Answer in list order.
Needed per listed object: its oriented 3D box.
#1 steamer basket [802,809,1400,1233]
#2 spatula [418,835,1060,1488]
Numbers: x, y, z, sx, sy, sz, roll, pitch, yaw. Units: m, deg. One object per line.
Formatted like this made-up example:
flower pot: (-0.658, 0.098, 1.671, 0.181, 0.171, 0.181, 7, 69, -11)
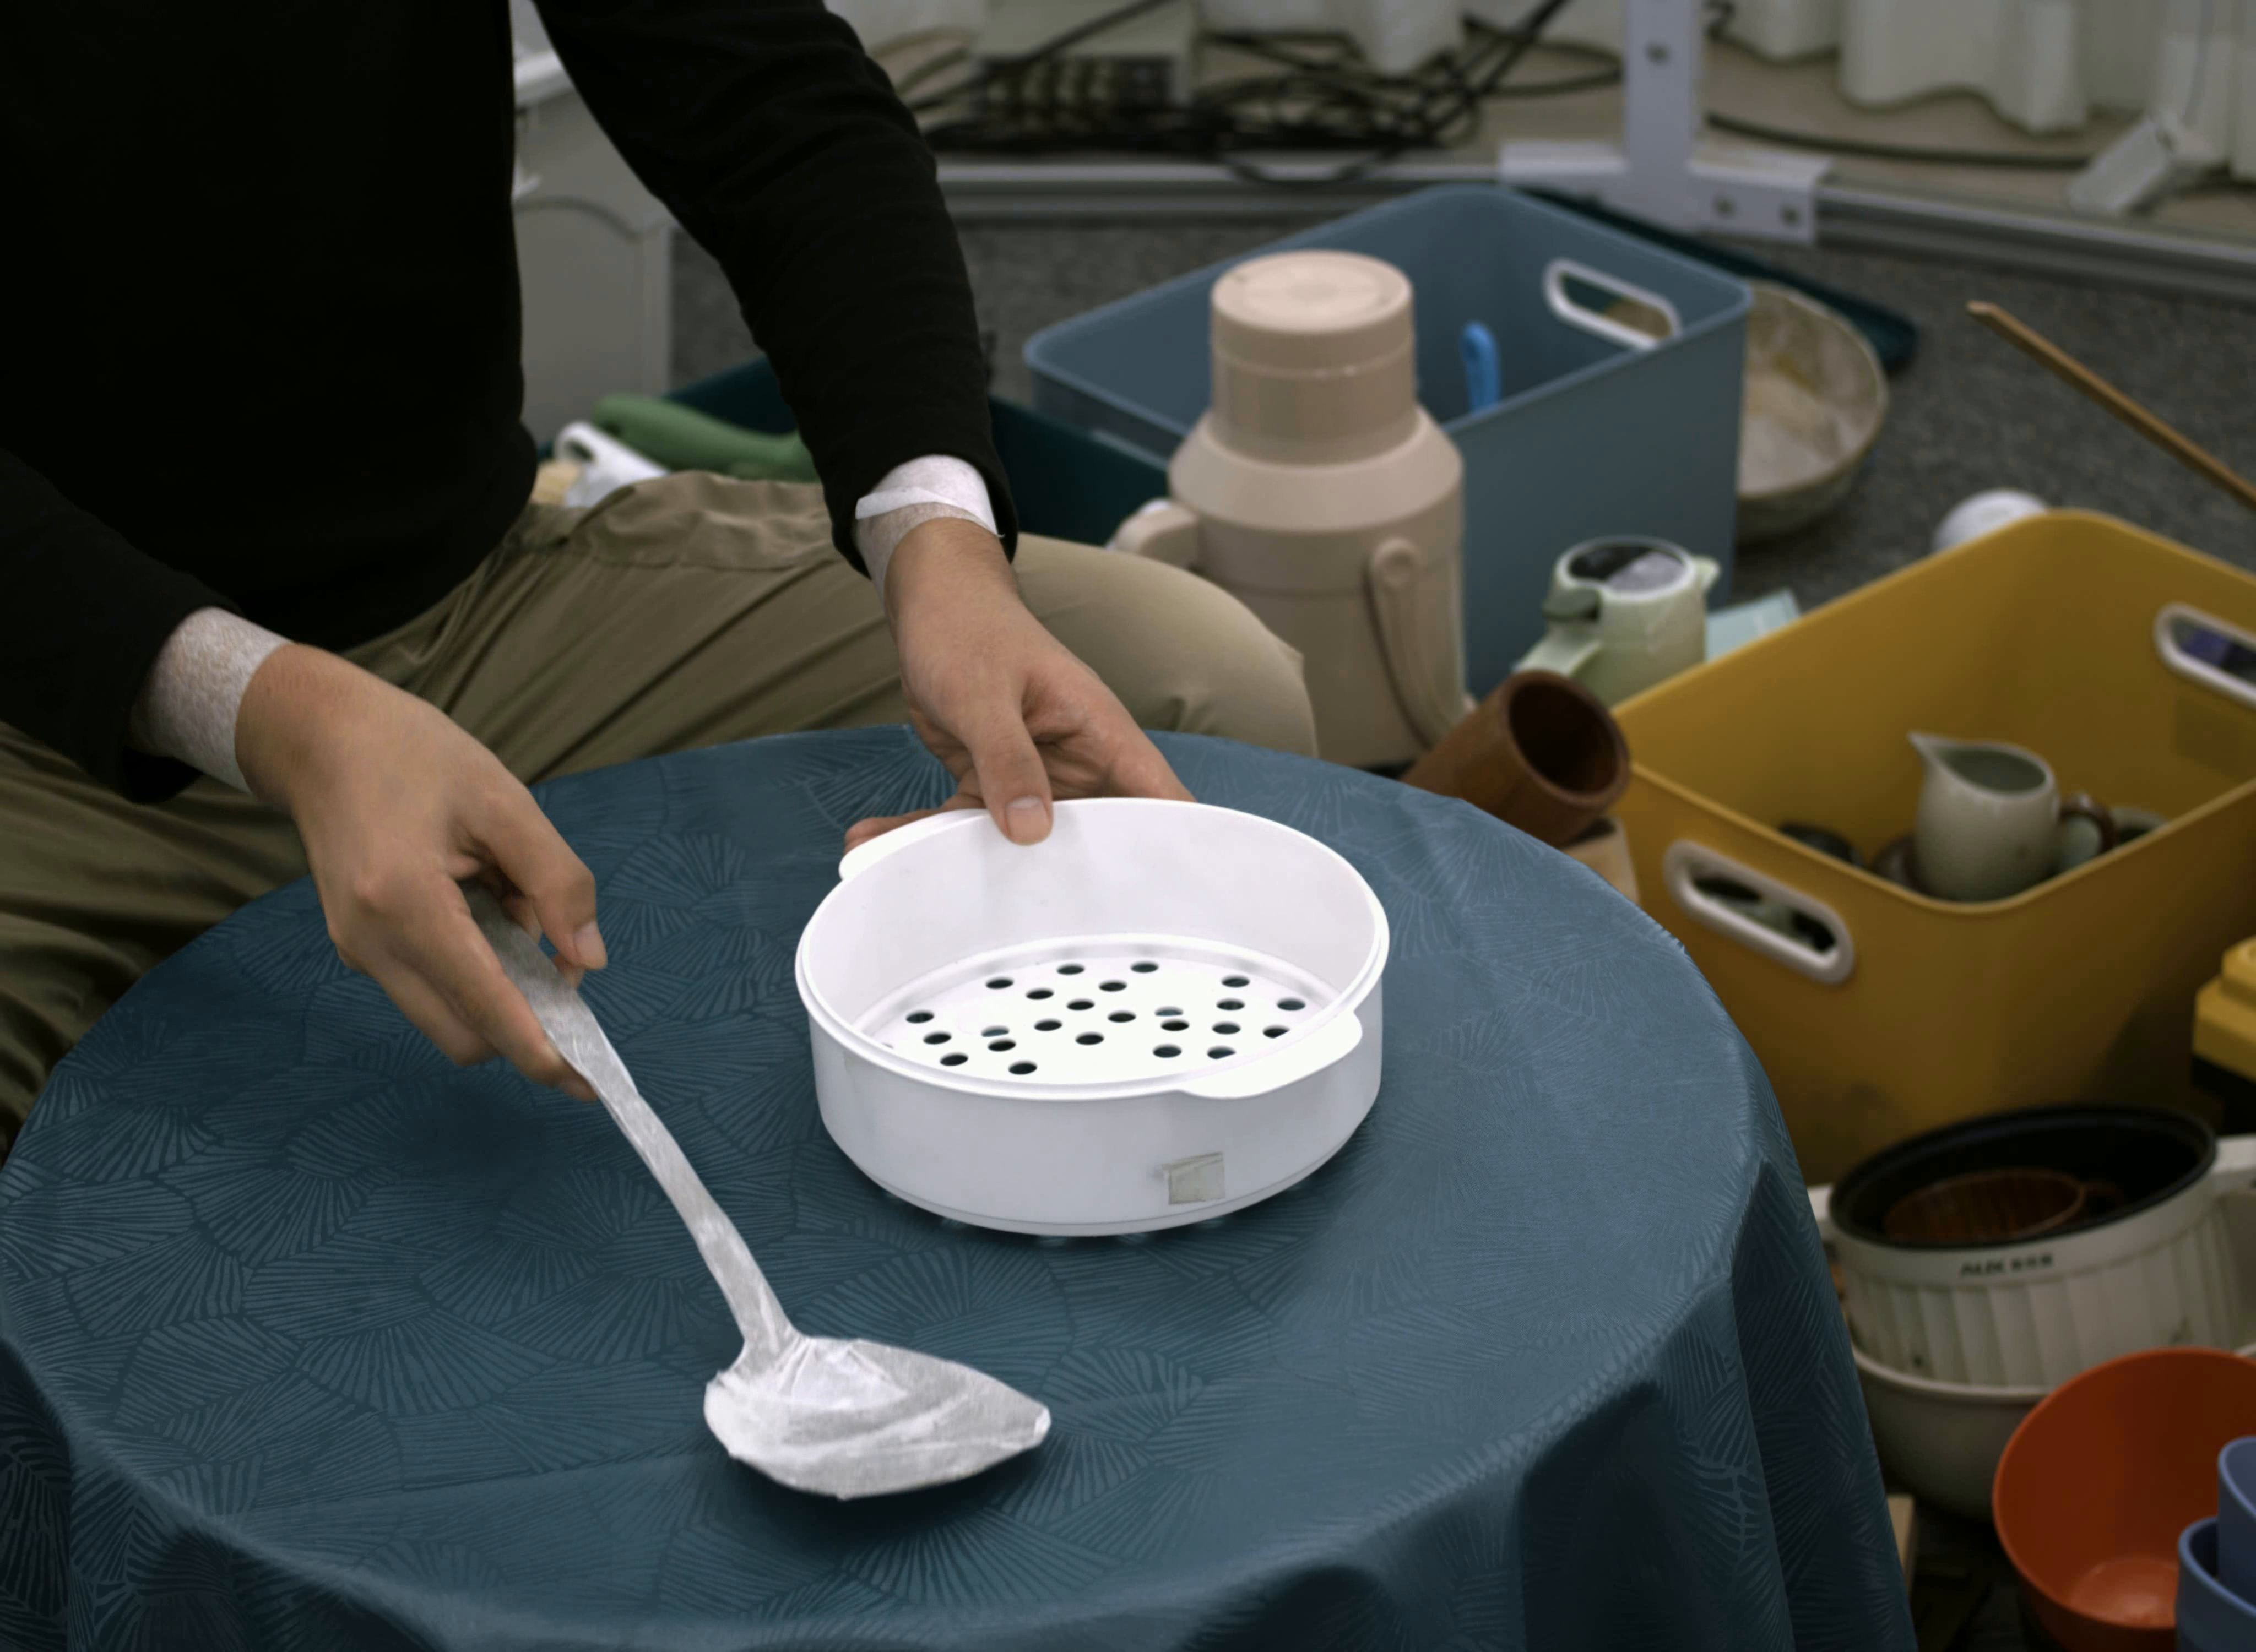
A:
steamer basket: (-0.008, 0.066, 1.894, 0.204, 0.068, 0.231, -20, 31, -32)
spatula: (-0.148, 0.099, 1.808, 0.099, 0.044, 0.368, -12, 44, -31)
